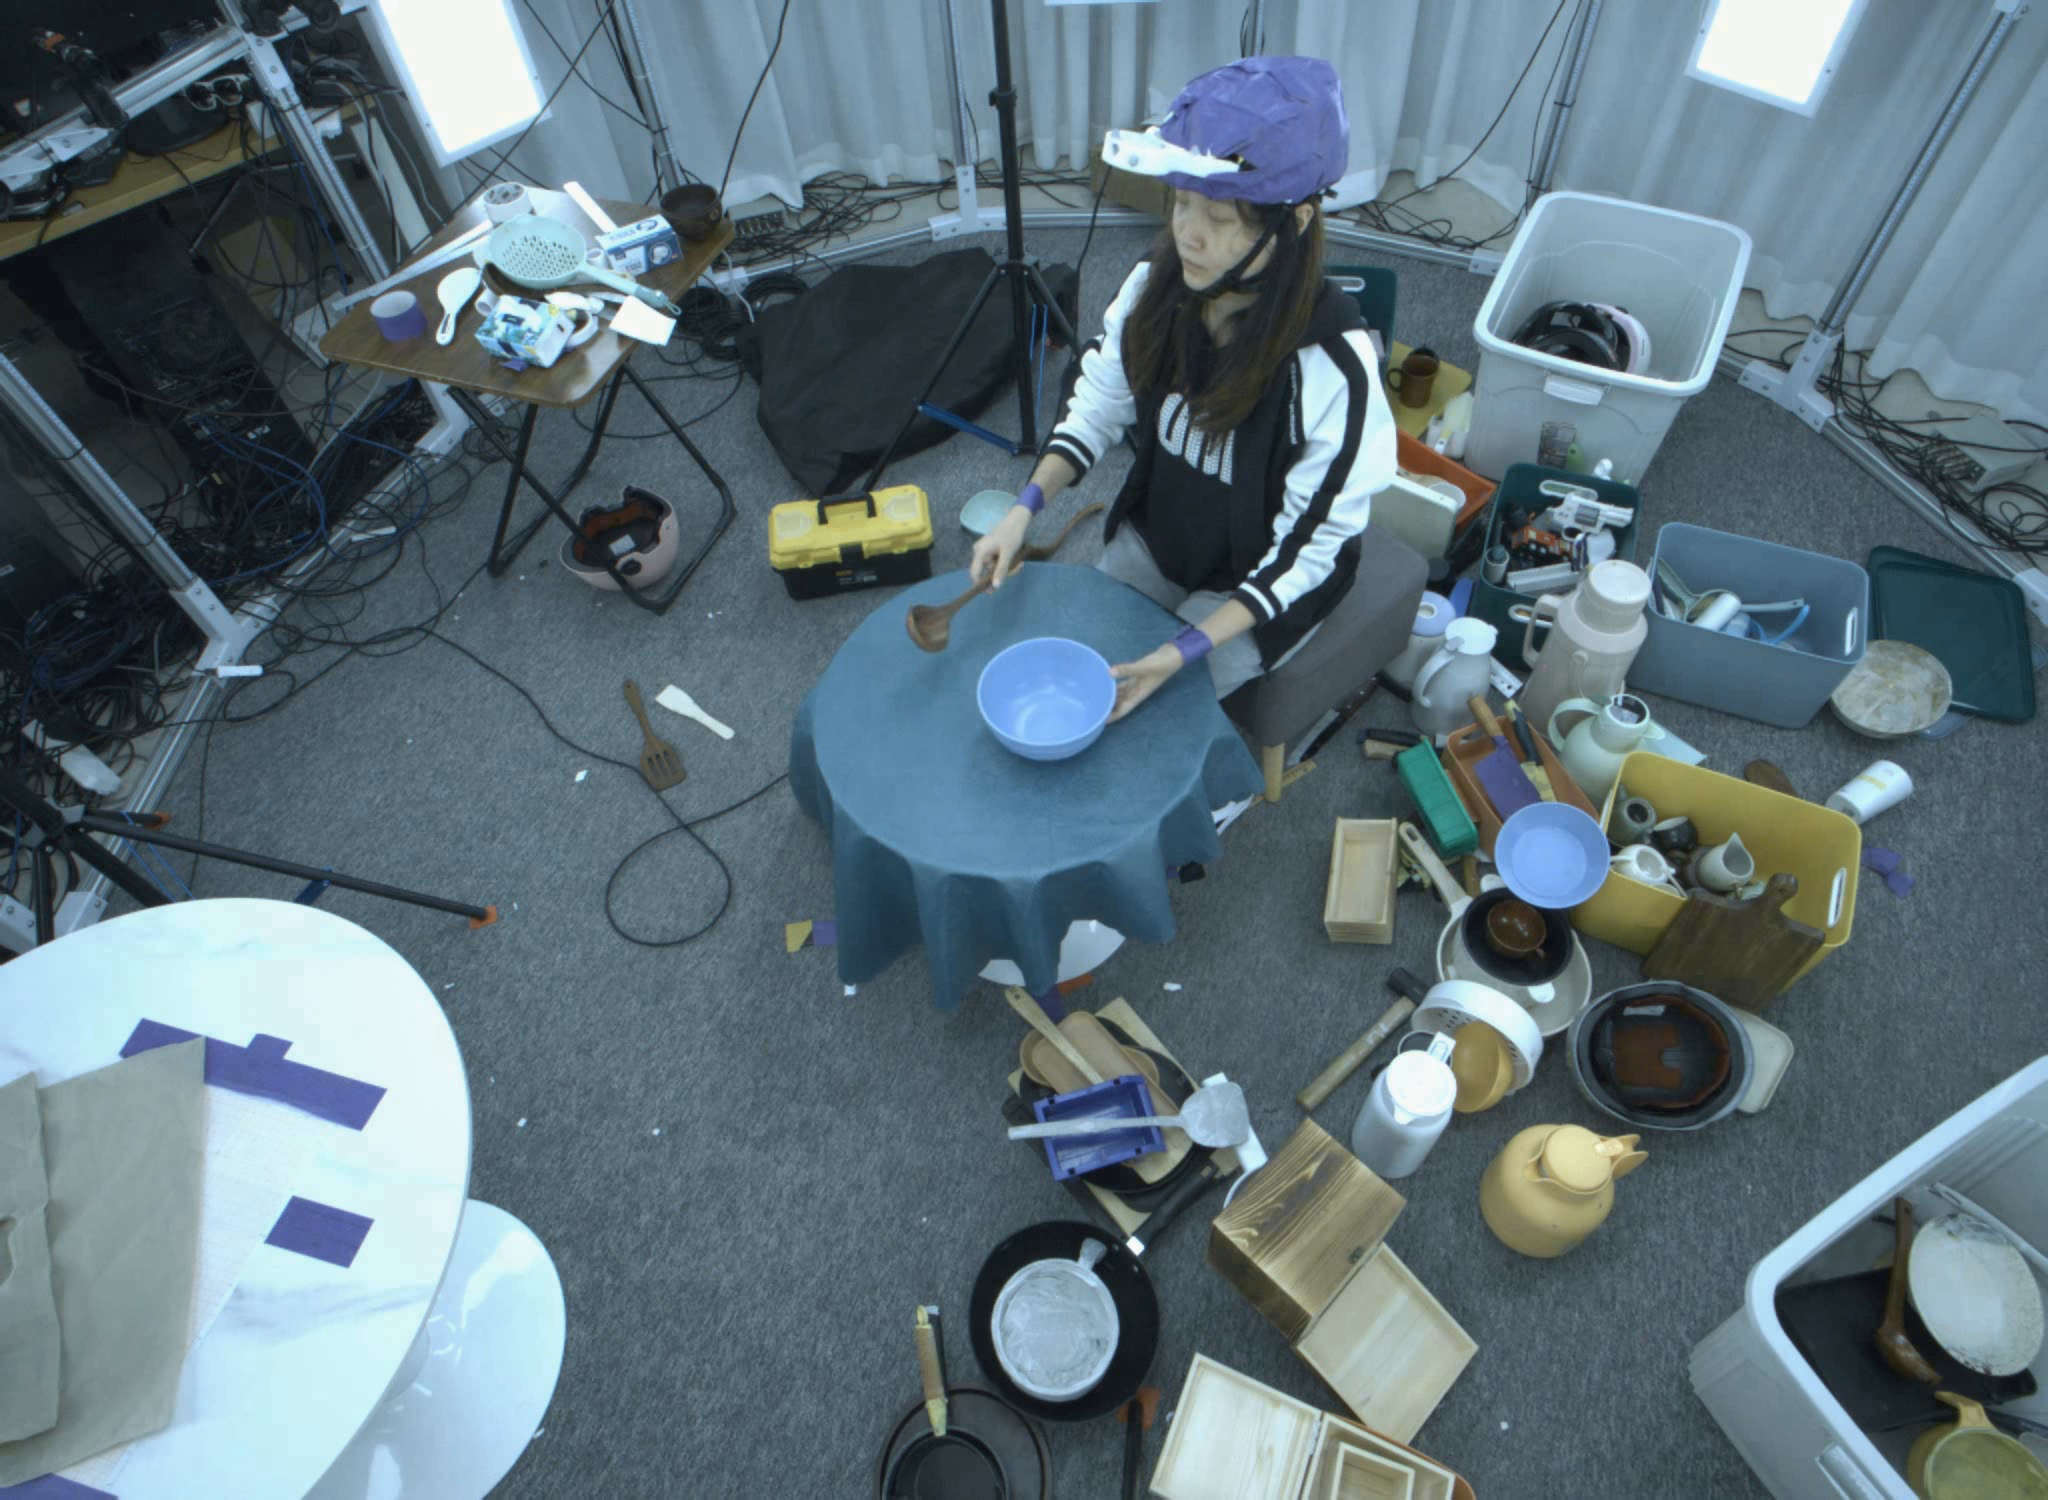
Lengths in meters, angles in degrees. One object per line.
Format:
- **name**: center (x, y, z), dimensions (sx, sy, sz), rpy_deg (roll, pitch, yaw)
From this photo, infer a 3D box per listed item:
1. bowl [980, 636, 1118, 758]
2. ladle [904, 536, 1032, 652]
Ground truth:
- **bowl**: center (0.042, -0.061, 1.772), dimensions (0.195, 0.097, 0.194), rpy_deg (-4, 53, 7)
- **ladle**: center (-0.076, -0.243, 1.842), dimensions (0.261, 0.077, 0.064), rpy_deg (-41, 19, -16)
